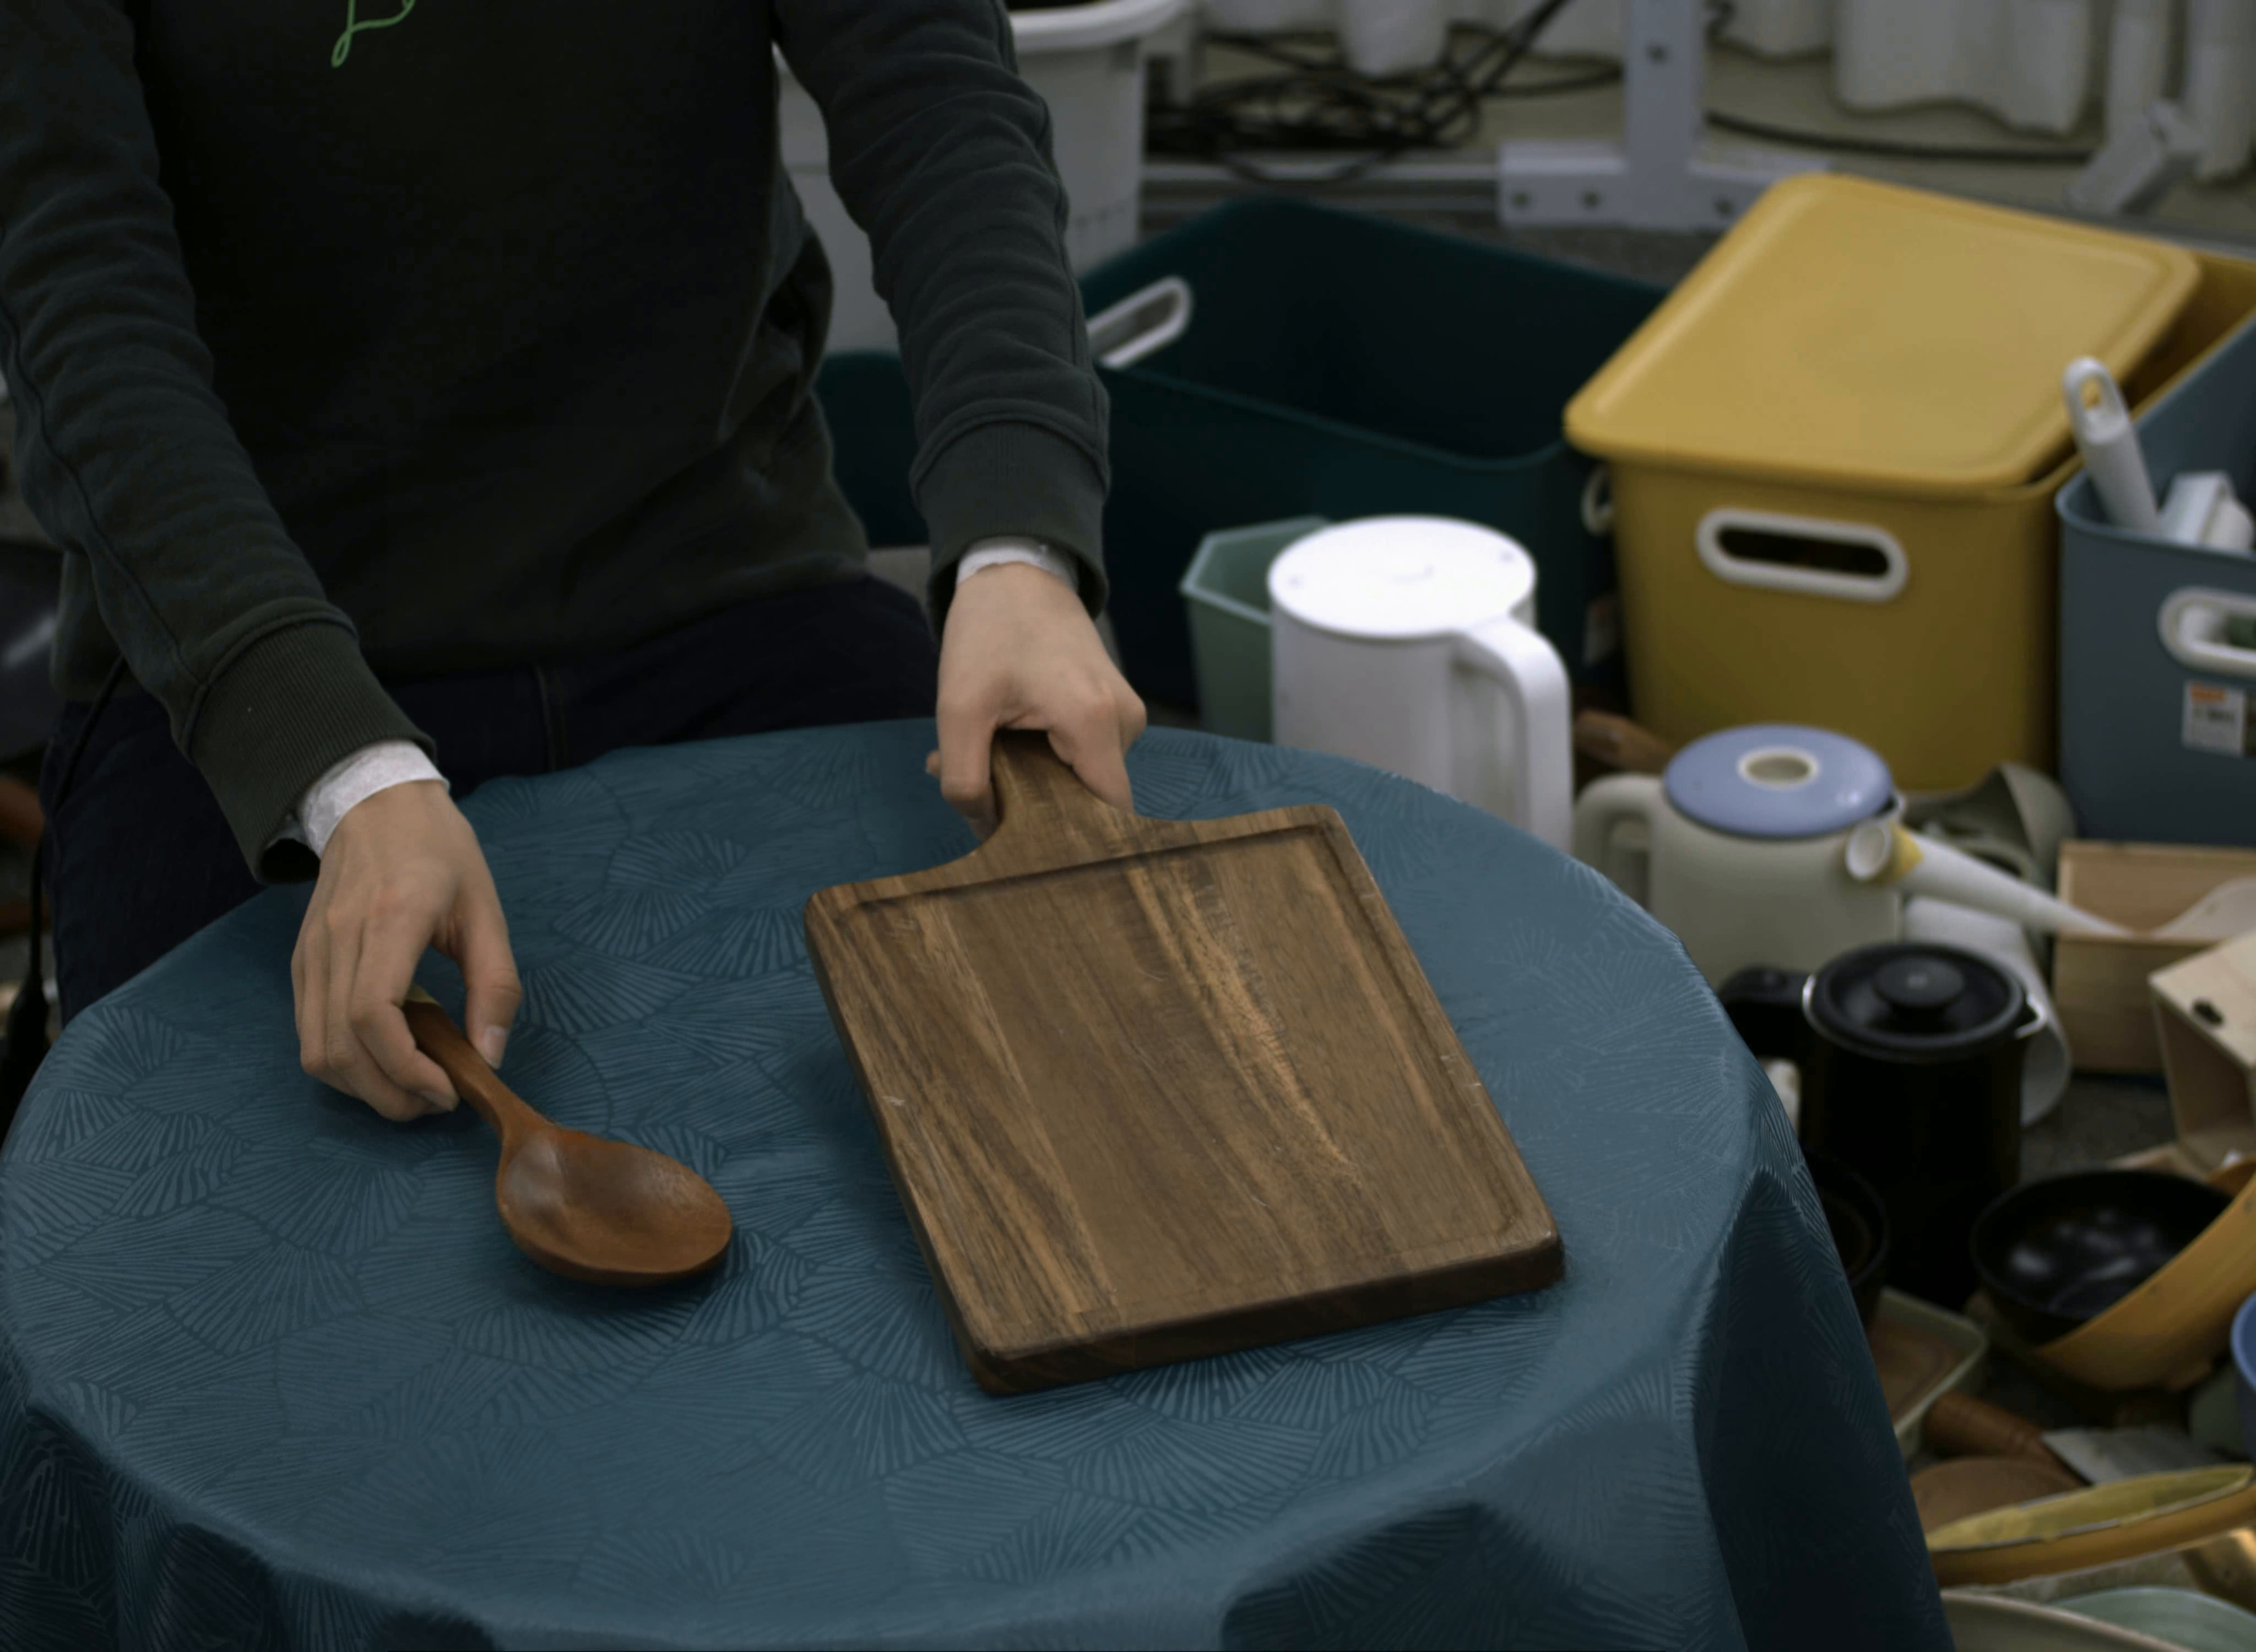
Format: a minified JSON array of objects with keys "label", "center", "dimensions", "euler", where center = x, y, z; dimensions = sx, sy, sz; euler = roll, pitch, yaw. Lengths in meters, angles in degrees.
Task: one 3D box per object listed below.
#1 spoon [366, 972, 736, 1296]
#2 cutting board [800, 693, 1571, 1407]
[{"label":"spoon","center":[-0.201,0.104,1.883],"dimensions":[0.076,0.017,0.217],"euler":[-14,33,-29]},{"label":"cutting board","center":[0.001,0.059,1.907],"dimensions":[0.201,0.023,0.357],"euler":[-10,37,-12]}]
